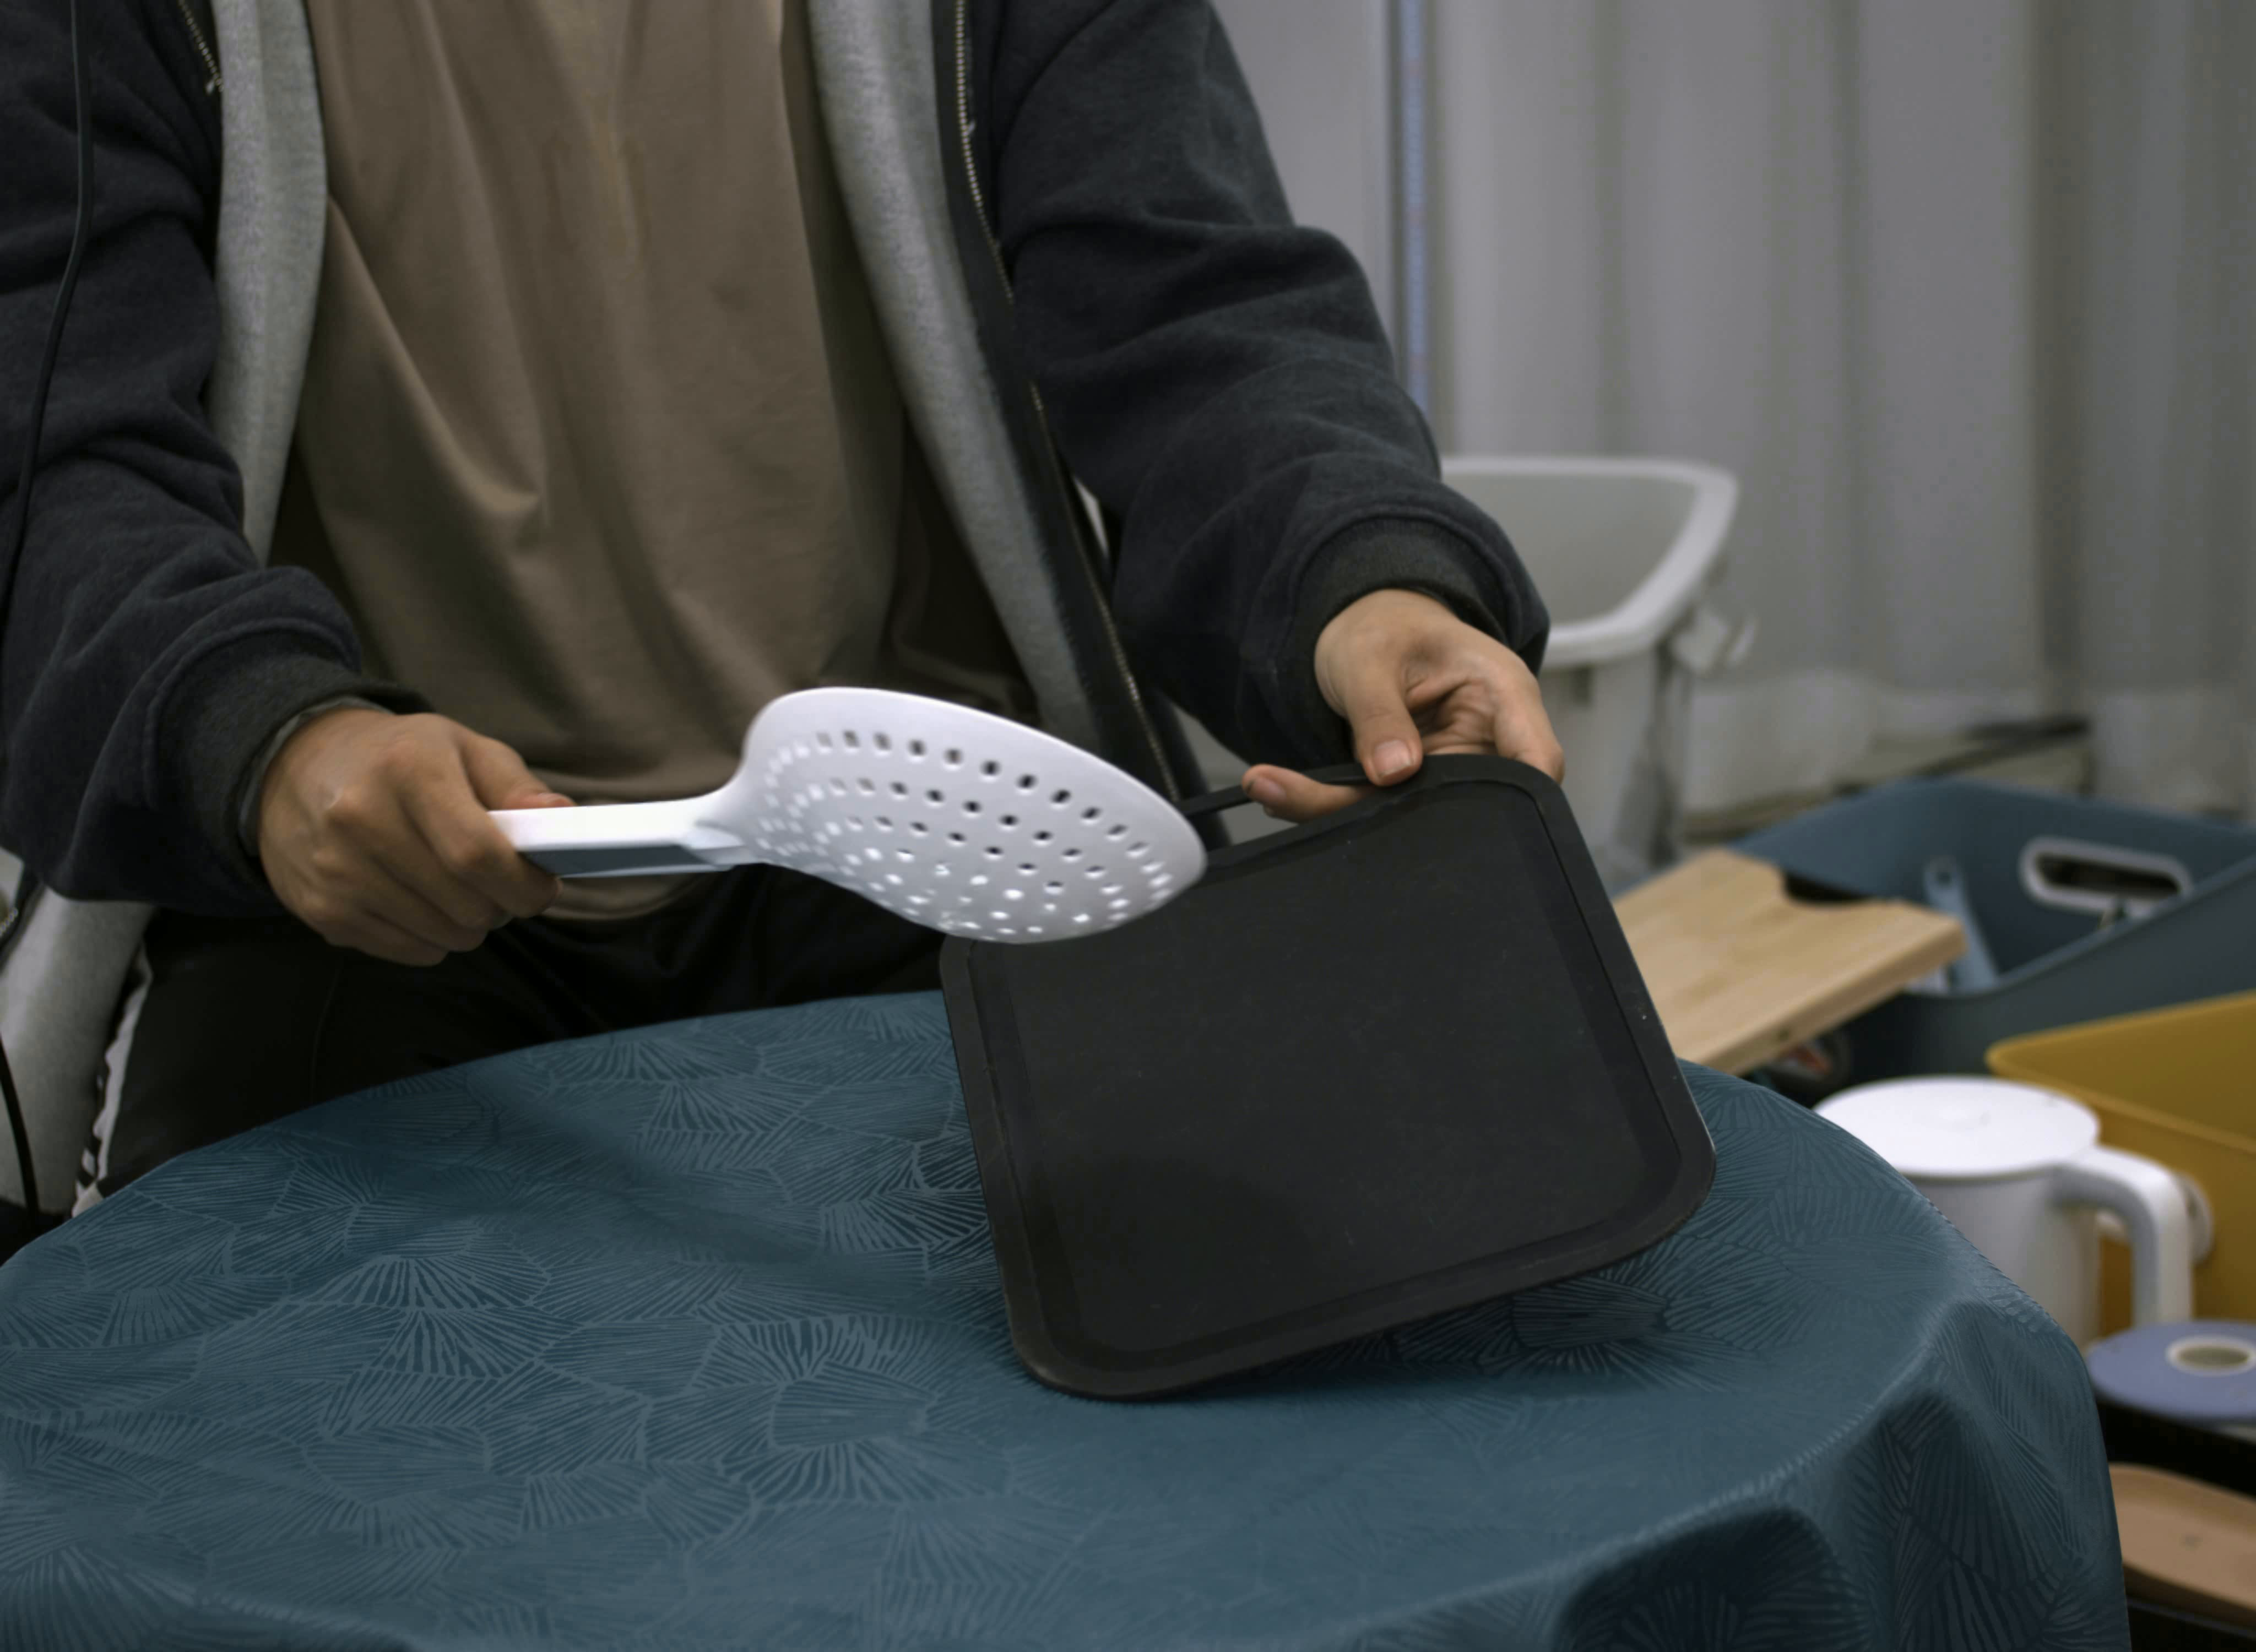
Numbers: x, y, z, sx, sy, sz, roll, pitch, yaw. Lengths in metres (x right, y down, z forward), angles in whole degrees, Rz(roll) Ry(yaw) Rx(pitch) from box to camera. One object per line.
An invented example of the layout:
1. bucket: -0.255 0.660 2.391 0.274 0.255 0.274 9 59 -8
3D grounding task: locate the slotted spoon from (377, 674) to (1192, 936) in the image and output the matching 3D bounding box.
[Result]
1. slotted spoon: -0.121 0.000 1.672 0.134 0.046 0.351 34 -20 -36

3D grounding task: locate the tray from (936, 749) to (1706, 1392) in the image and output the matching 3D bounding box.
1. tray: 0.050 0.063 1.674 0.210 0.009 0.329 -16 29 1
